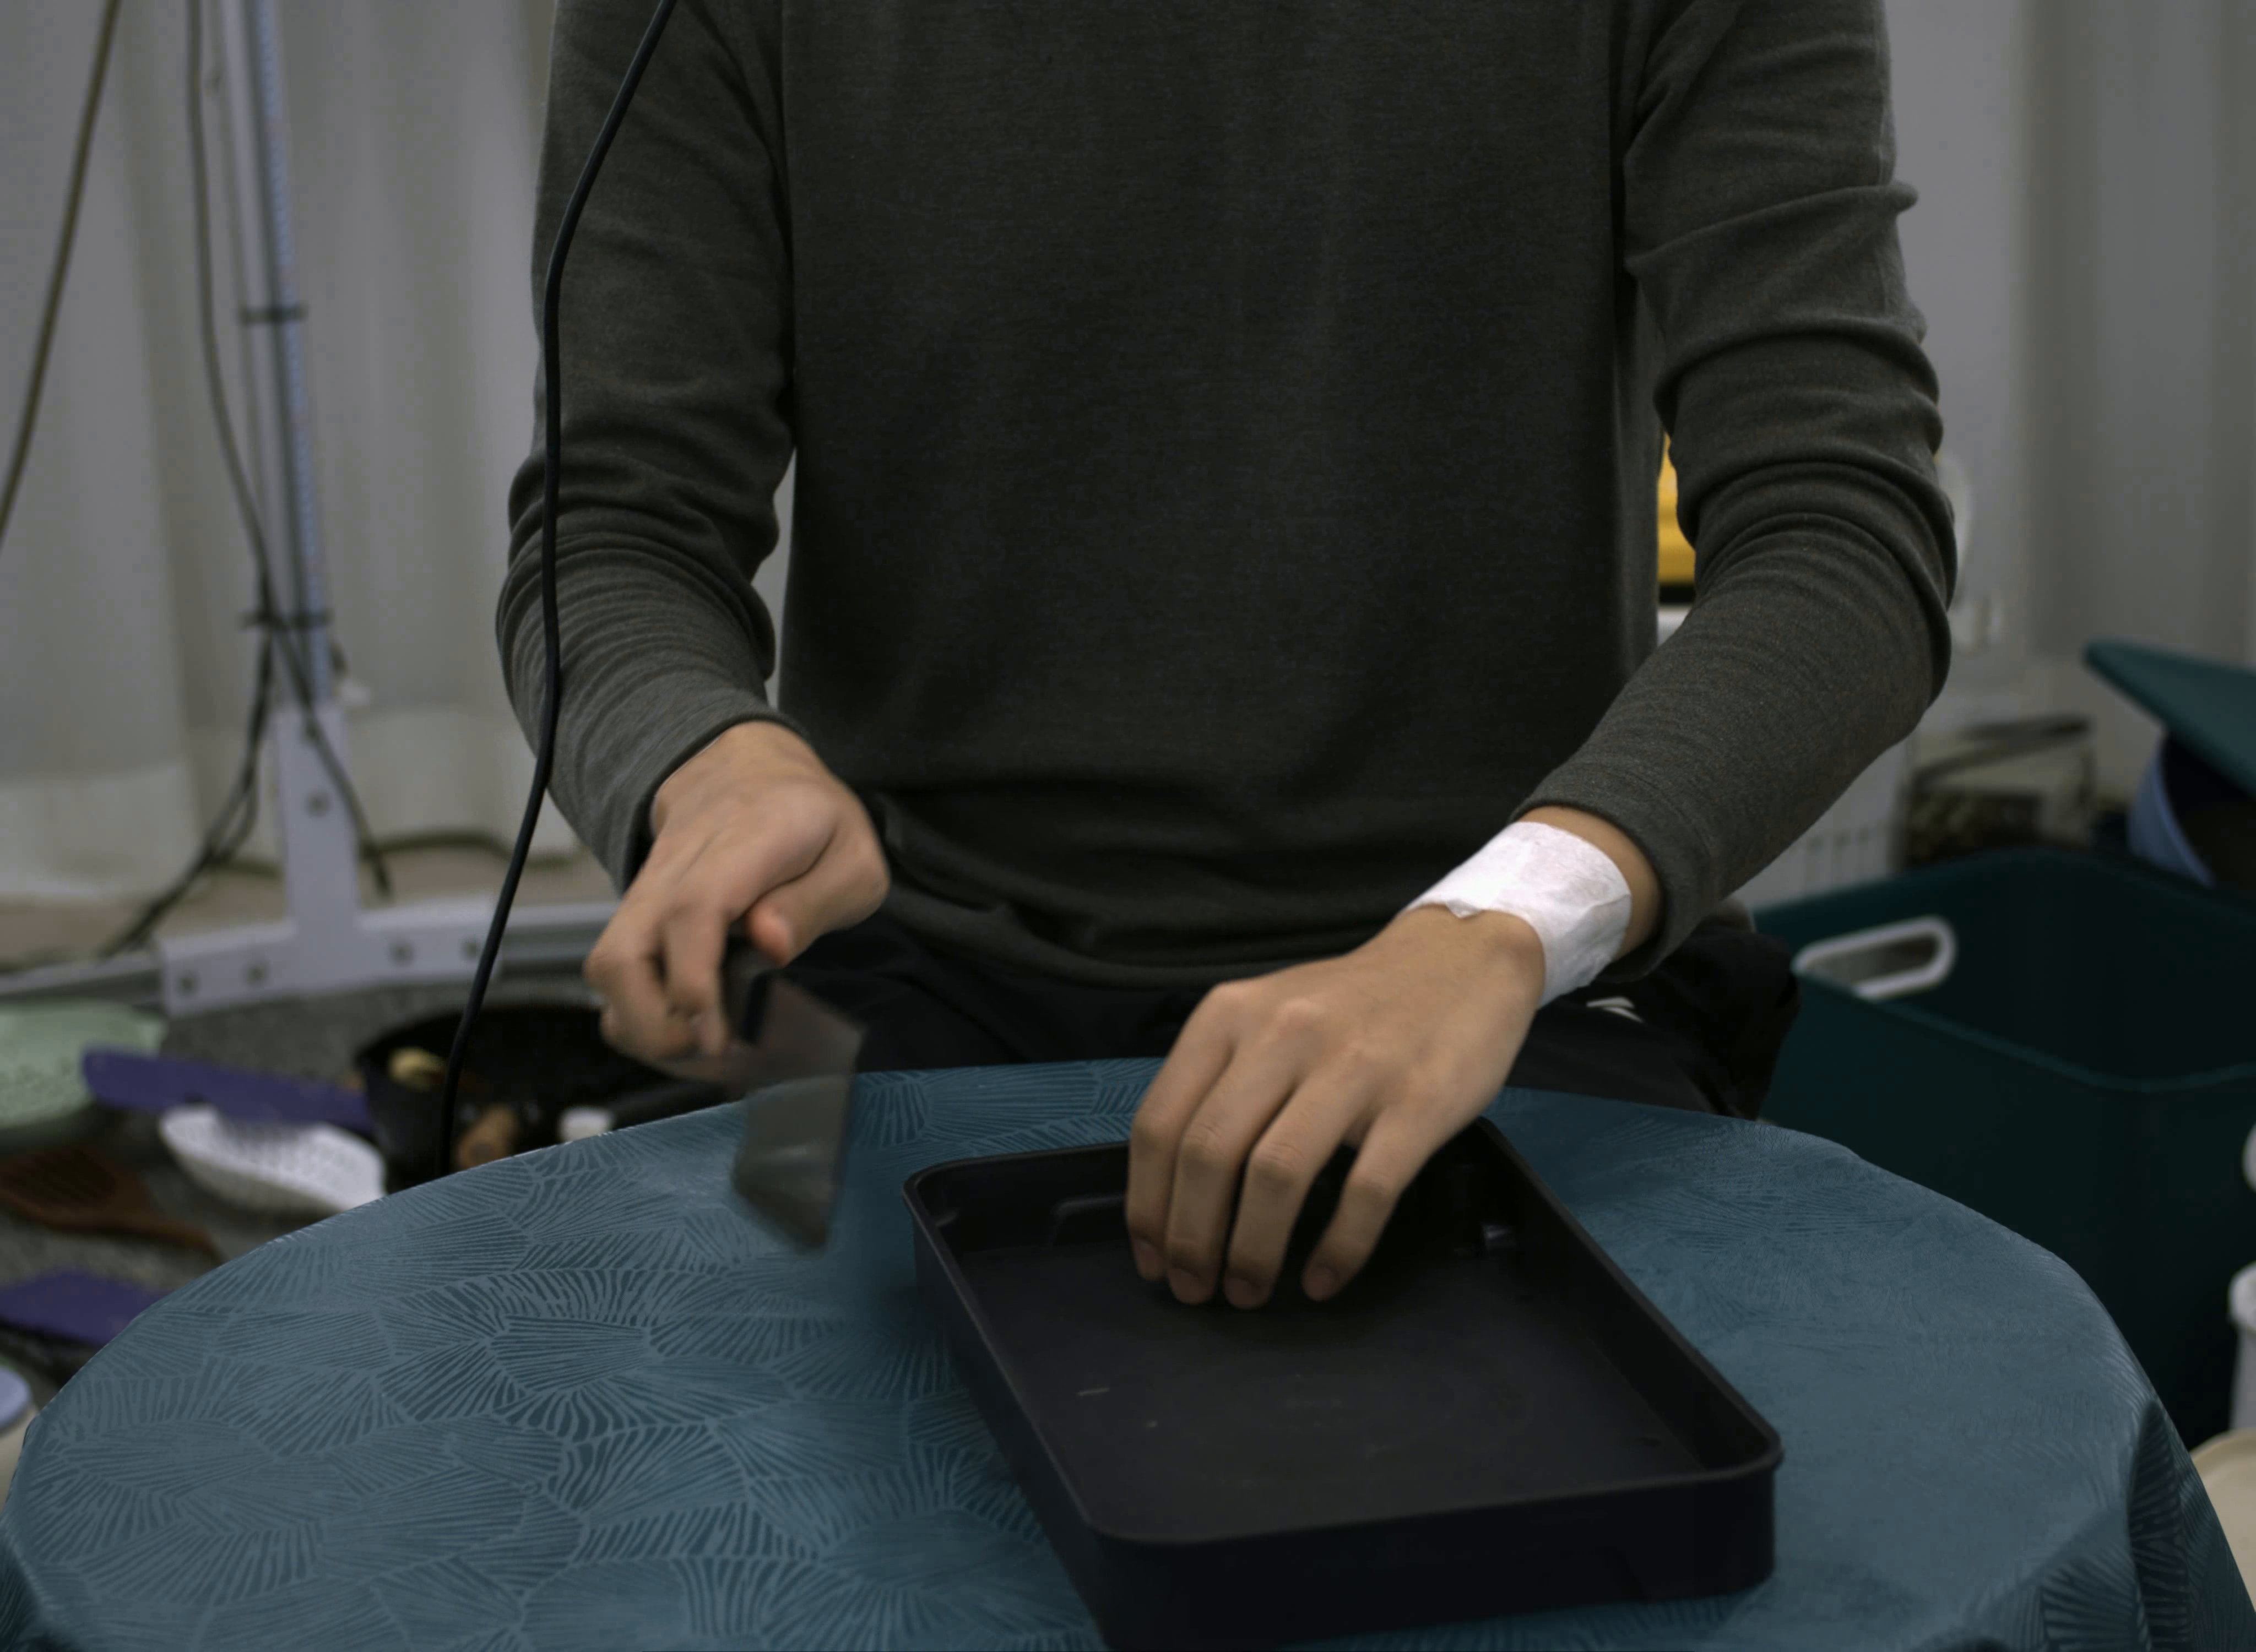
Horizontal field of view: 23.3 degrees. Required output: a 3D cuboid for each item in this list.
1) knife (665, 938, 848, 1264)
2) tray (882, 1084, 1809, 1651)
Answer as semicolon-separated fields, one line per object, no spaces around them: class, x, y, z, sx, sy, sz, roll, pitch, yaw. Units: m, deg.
knife;-0.105;0.072;1.537;0.021;0.081;0.304;11;5;-12
tray;0.050;0.145;1.508;0.183;0.037;0.321;-5;17;-13
